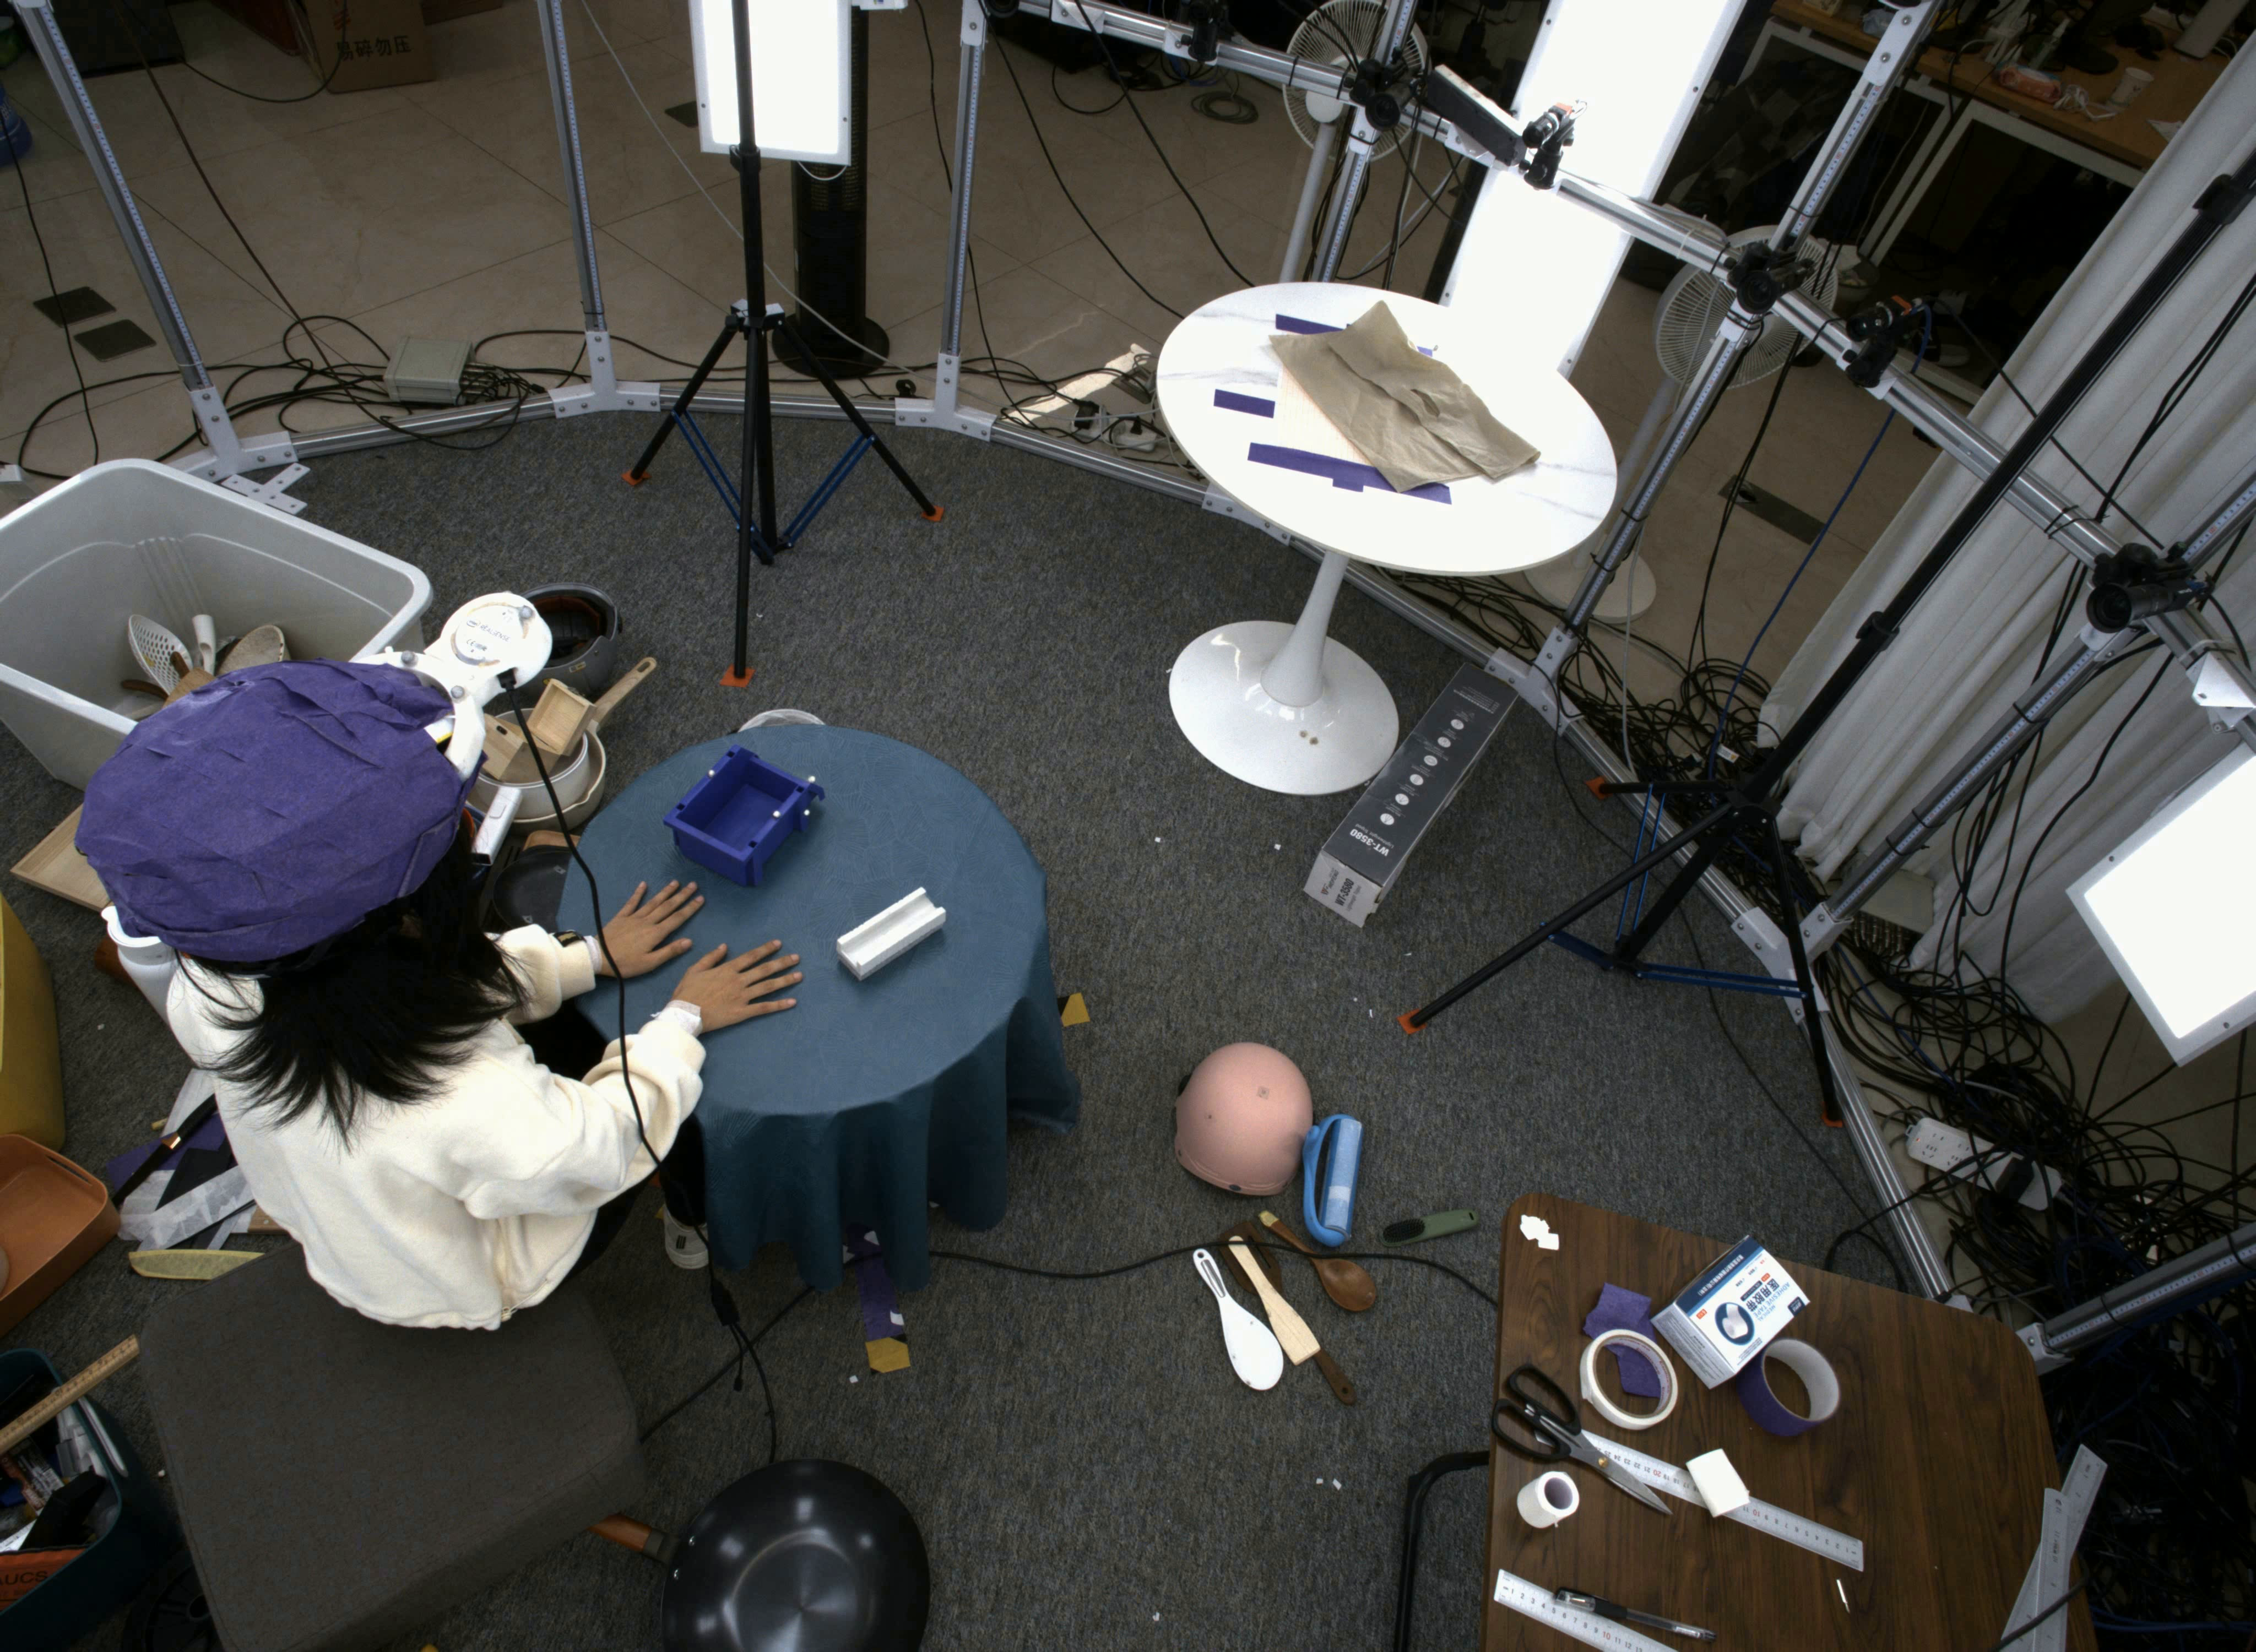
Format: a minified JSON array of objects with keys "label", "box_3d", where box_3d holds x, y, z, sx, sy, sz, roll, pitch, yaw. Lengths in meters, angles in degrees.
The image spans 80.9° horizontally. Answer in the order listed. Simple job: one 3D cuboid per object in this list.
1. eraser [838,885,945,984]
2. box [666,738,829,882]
[{"label":"eraser","box_3d":[-0.294,0.134,1.622,0.049,0.047,0.134,41,53,17]},{"label":"box","box_3d":[-0.490,-0.027,1.669,0.122,0.083,0.178,27,54,8]}]
